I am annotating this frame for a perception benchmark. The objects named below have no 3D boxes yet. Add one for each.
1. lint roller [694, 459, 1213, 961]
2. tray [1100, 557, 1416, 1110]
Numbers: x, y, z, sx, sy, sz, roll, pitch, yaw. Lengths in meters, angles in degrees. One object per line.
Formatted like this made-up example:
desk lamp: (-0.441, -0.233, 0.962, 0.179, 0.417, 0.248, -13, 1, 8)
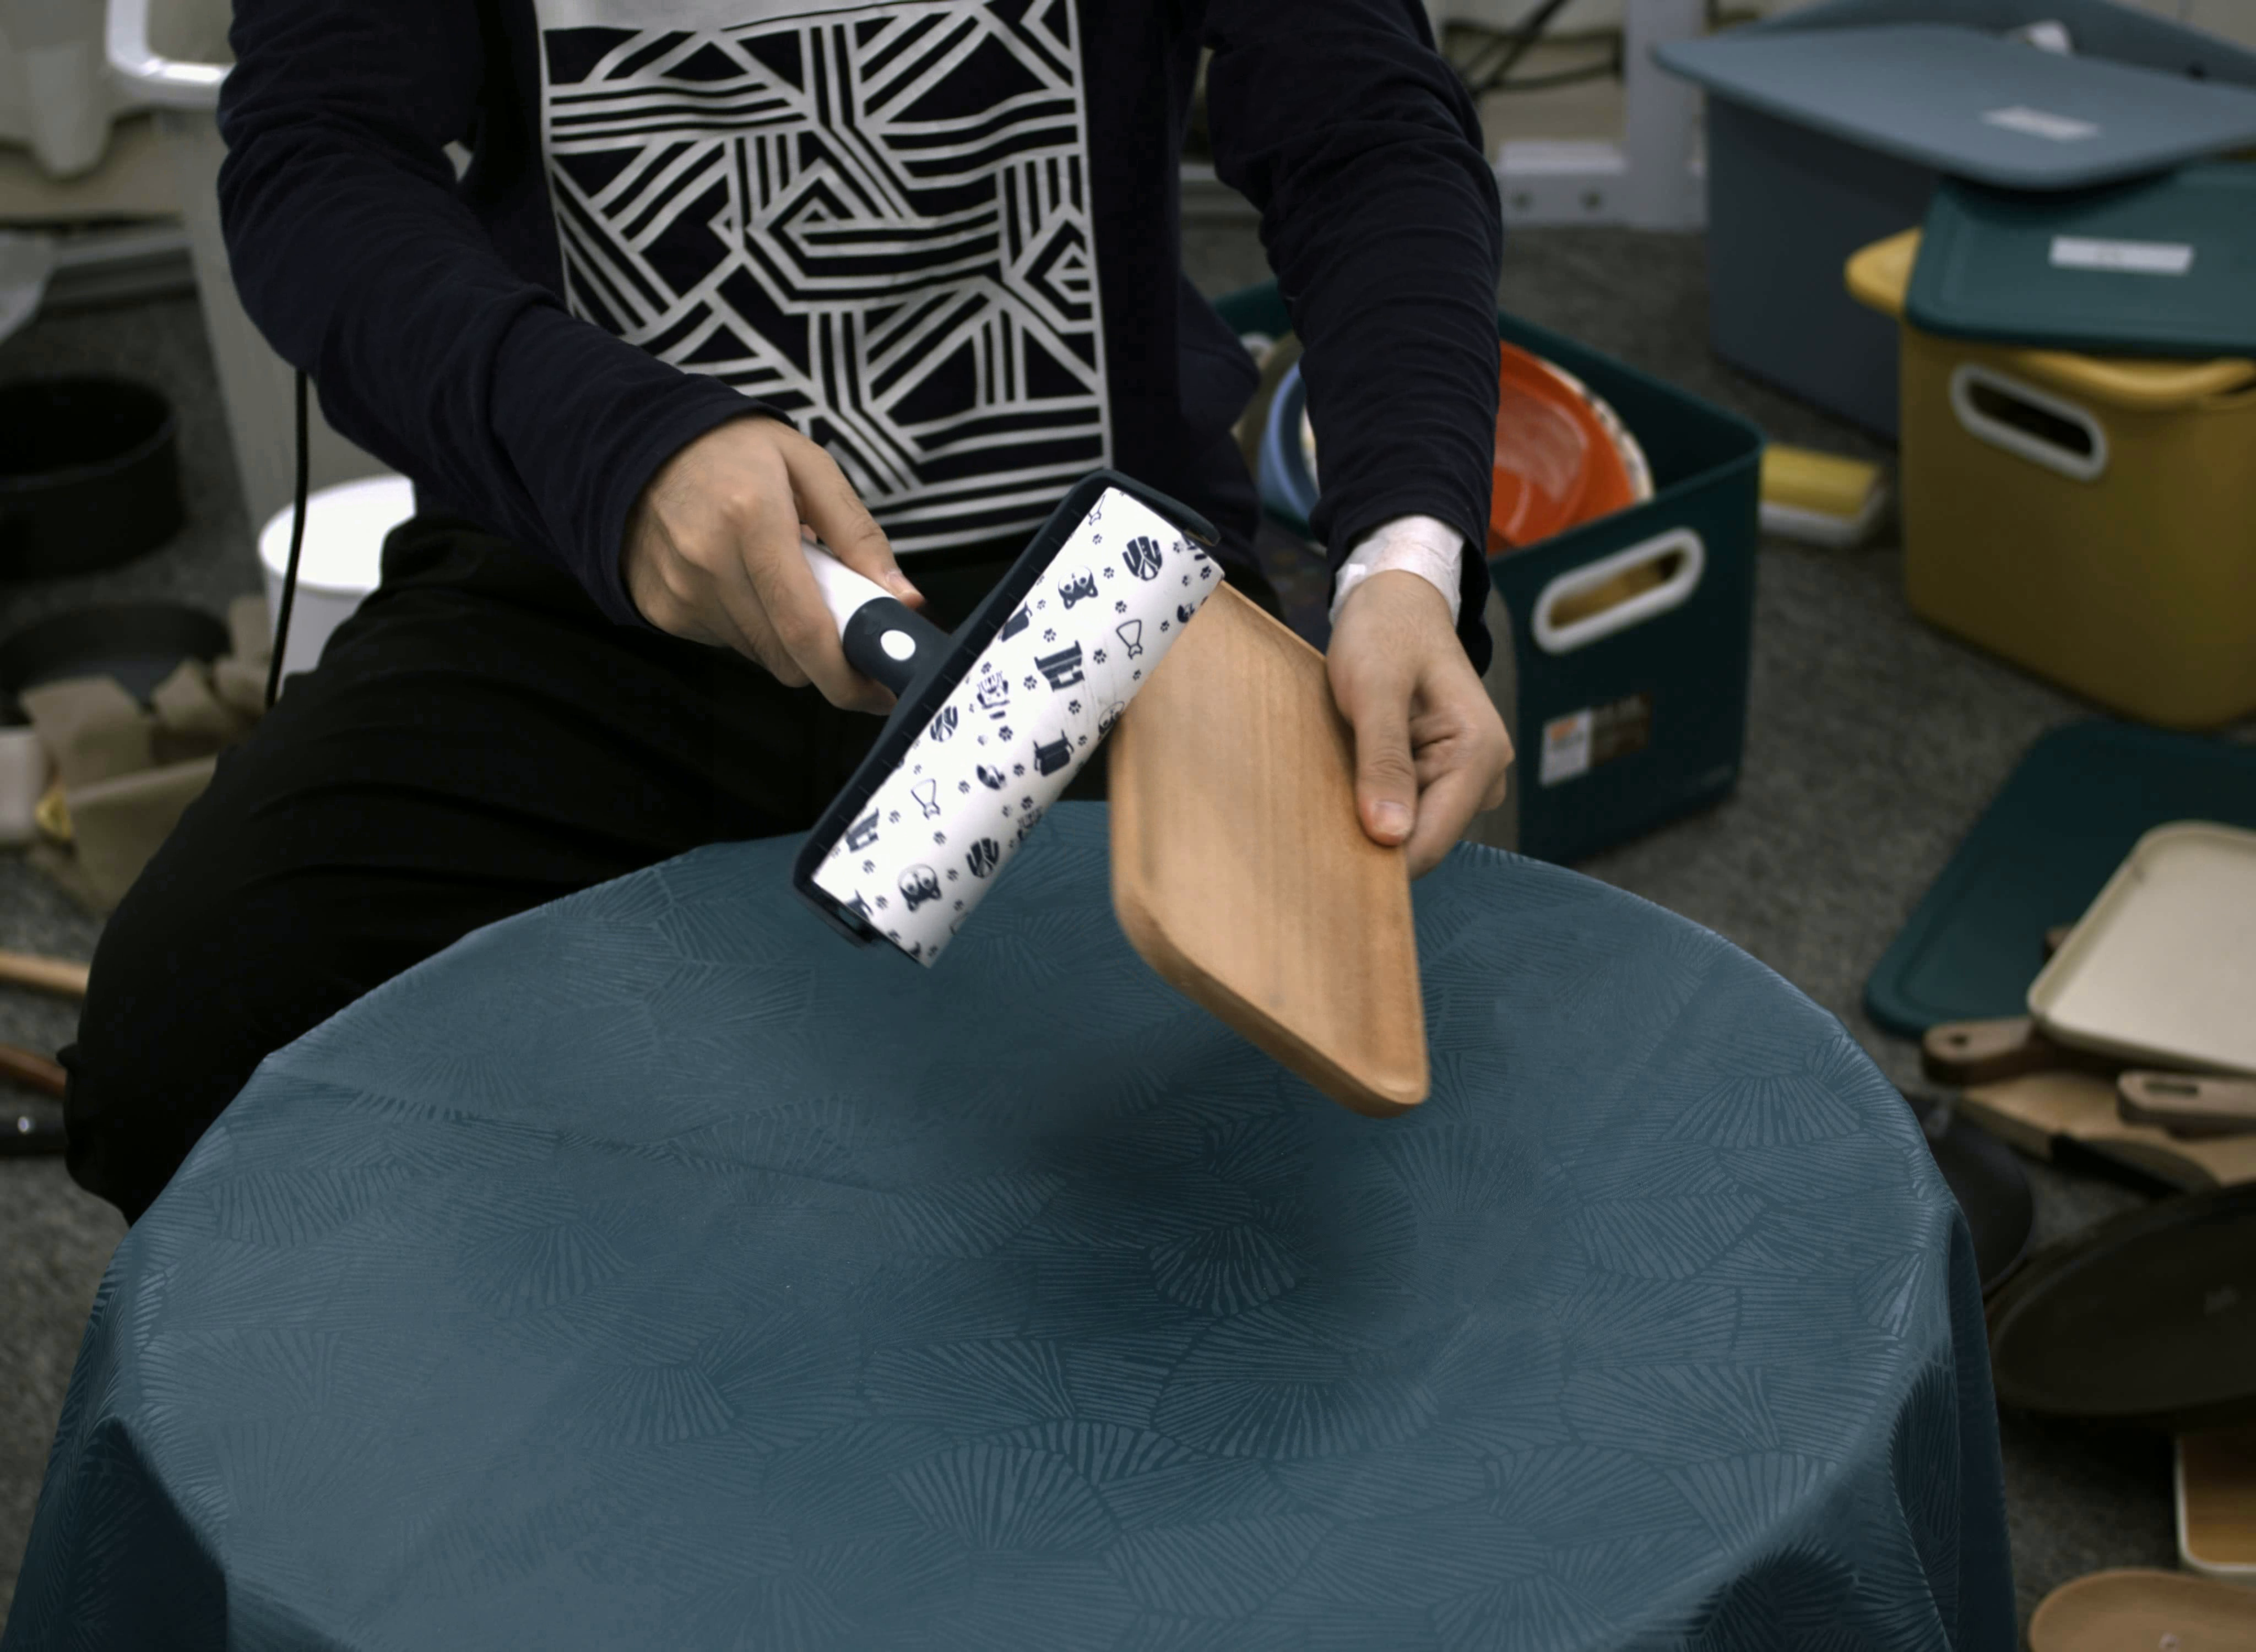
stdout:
lint roller: (-0.089, -0.067, 1.879, 0.177, 0.050, 0.247, -53, 38, -5)
tray: (0.040, -0.006, 1.842, 0.022, 0.130, 0.255, -41, 23, 22)
